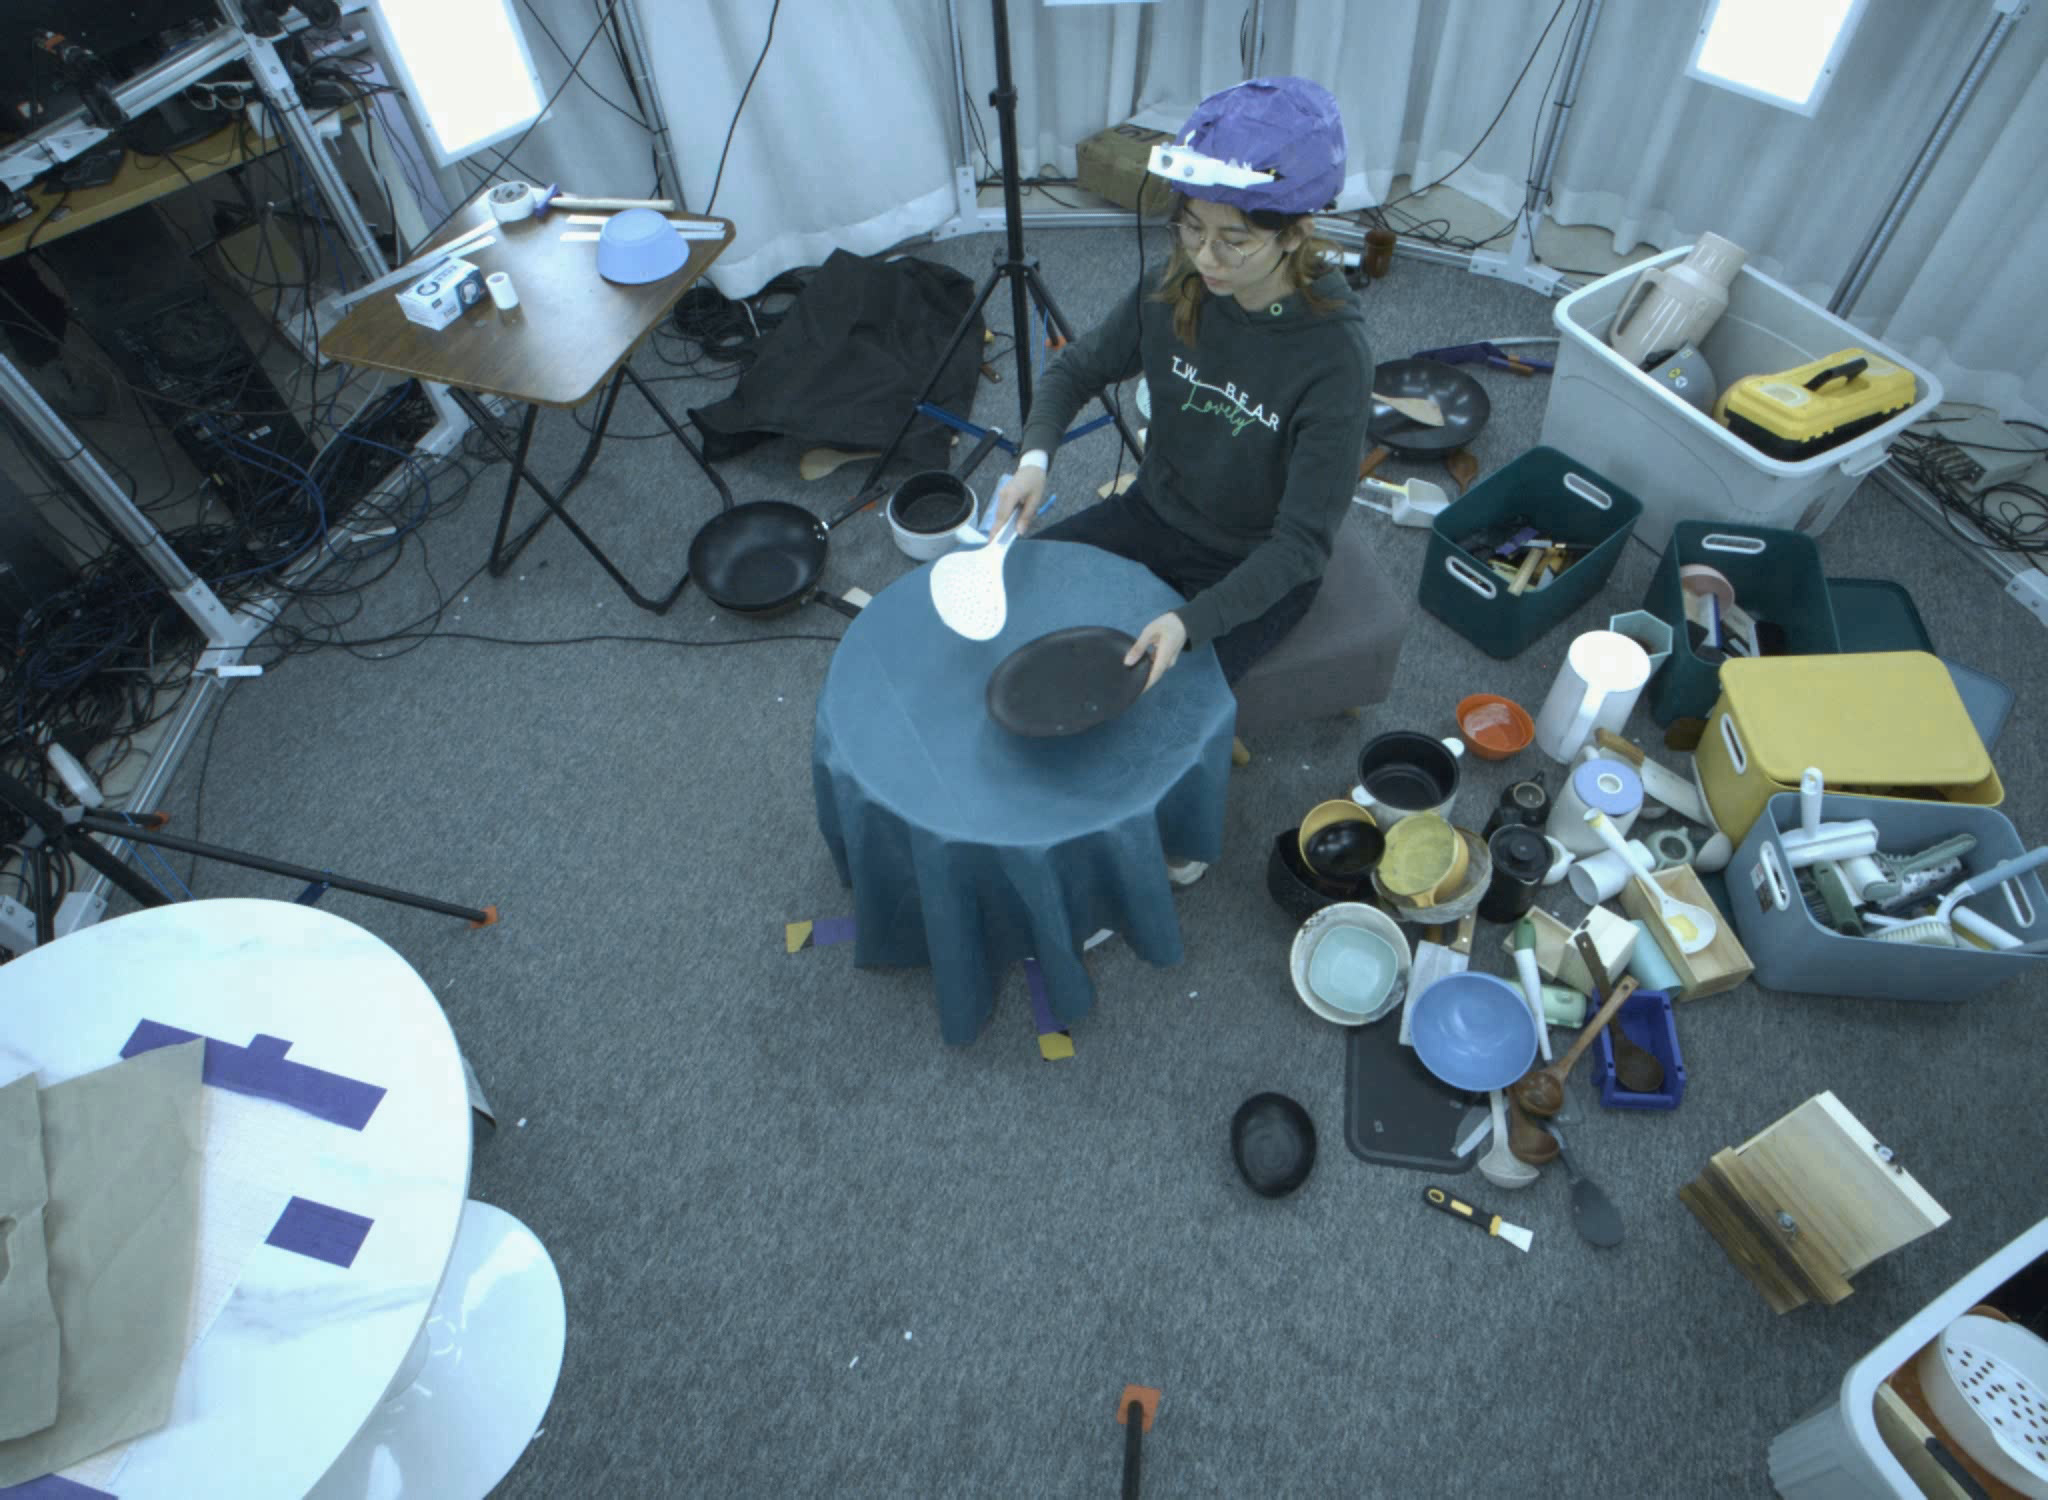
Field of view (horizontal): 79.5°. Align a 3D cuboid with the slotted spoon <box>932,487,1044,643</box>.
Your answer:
[{"bbox_3d":[-0.045,-0.294,1.867,0.138,0.045,0.350,45,53,-22],"label":"slotted spoon"}]

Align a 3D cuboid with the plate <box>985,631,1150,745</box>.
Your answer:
[{"bbox_3d":[0.064,-0.087,1.766,0.243,0.024,0.242,-10,42,10],"label":"plate"}]
